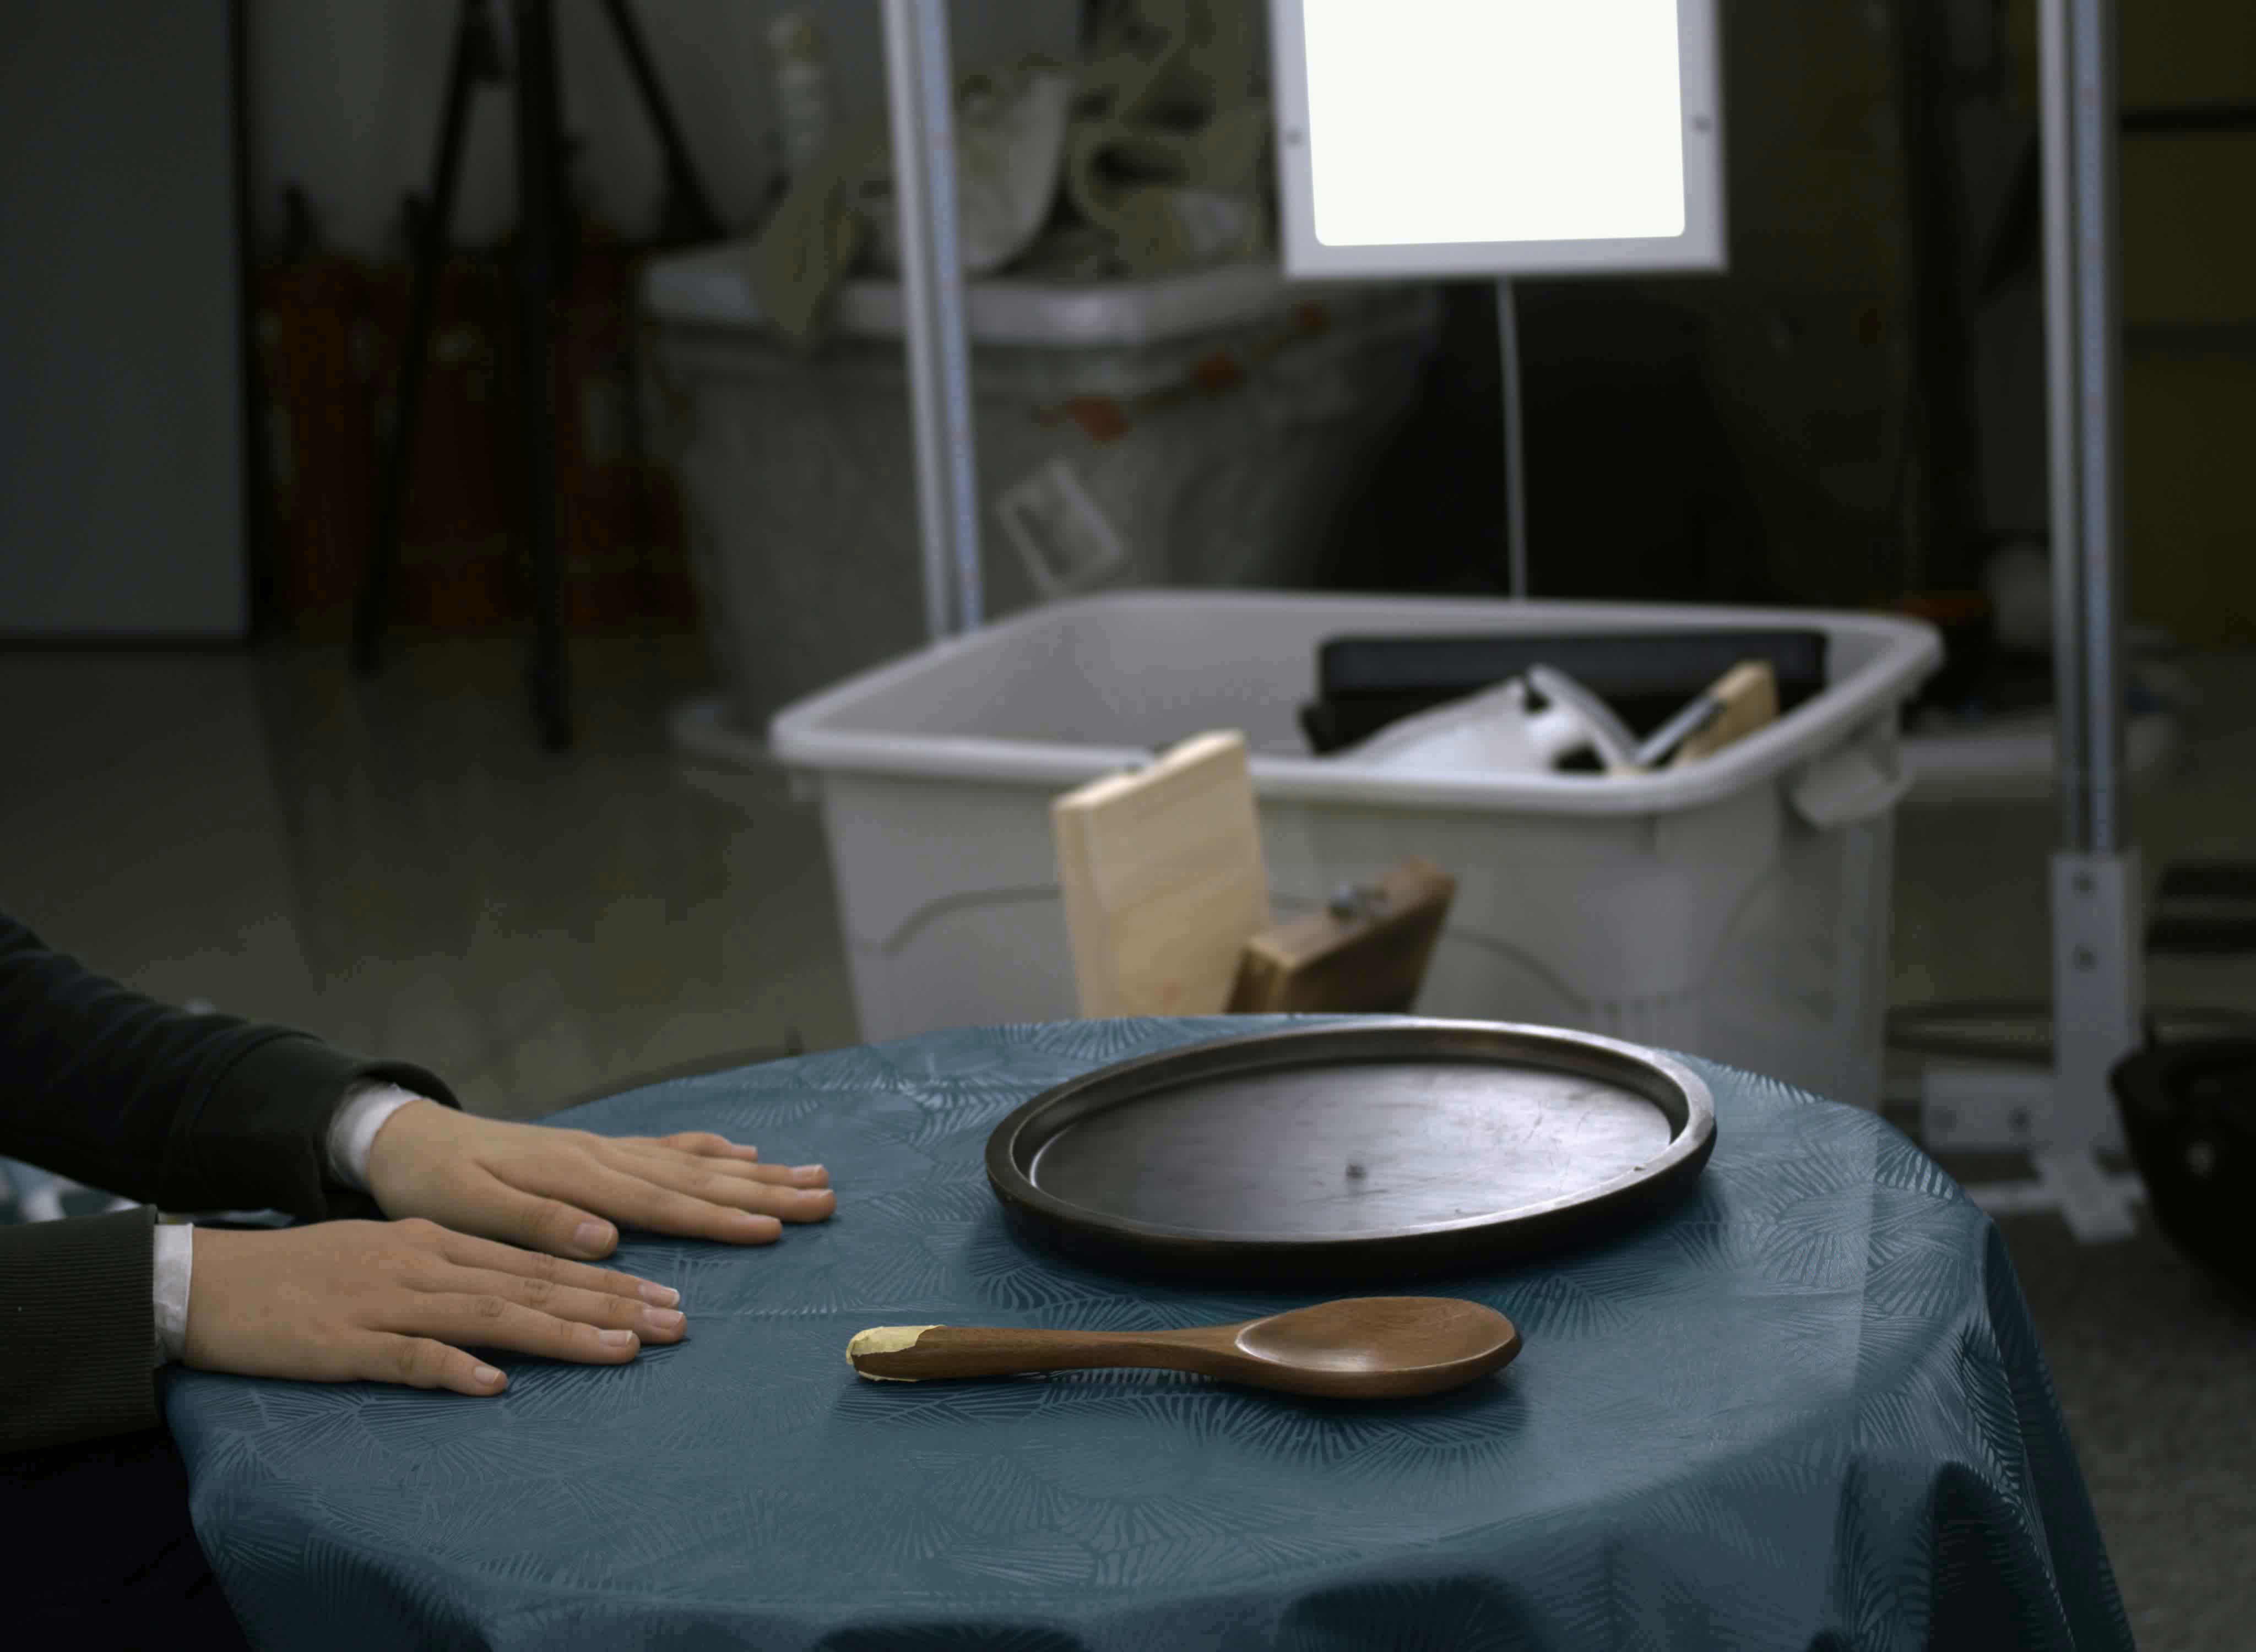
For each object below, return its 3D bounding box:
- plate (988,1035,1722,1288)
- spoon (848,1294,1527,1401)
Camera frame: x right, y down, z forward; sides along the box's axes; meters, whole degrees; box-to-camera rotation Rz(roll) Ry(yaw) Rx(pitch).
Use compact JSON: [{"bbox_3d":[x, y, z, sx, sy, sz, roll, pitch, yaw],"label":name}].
[{"bbox_3d":[0.078,0.112,1.883,0.254,0.029,0.254,-4,13,0],"label":"plate"},{"bbox_3d":[0.018,0.163,1.706,0.218,0.017,0.074,-1,14,16],"label":"spoon"}]
